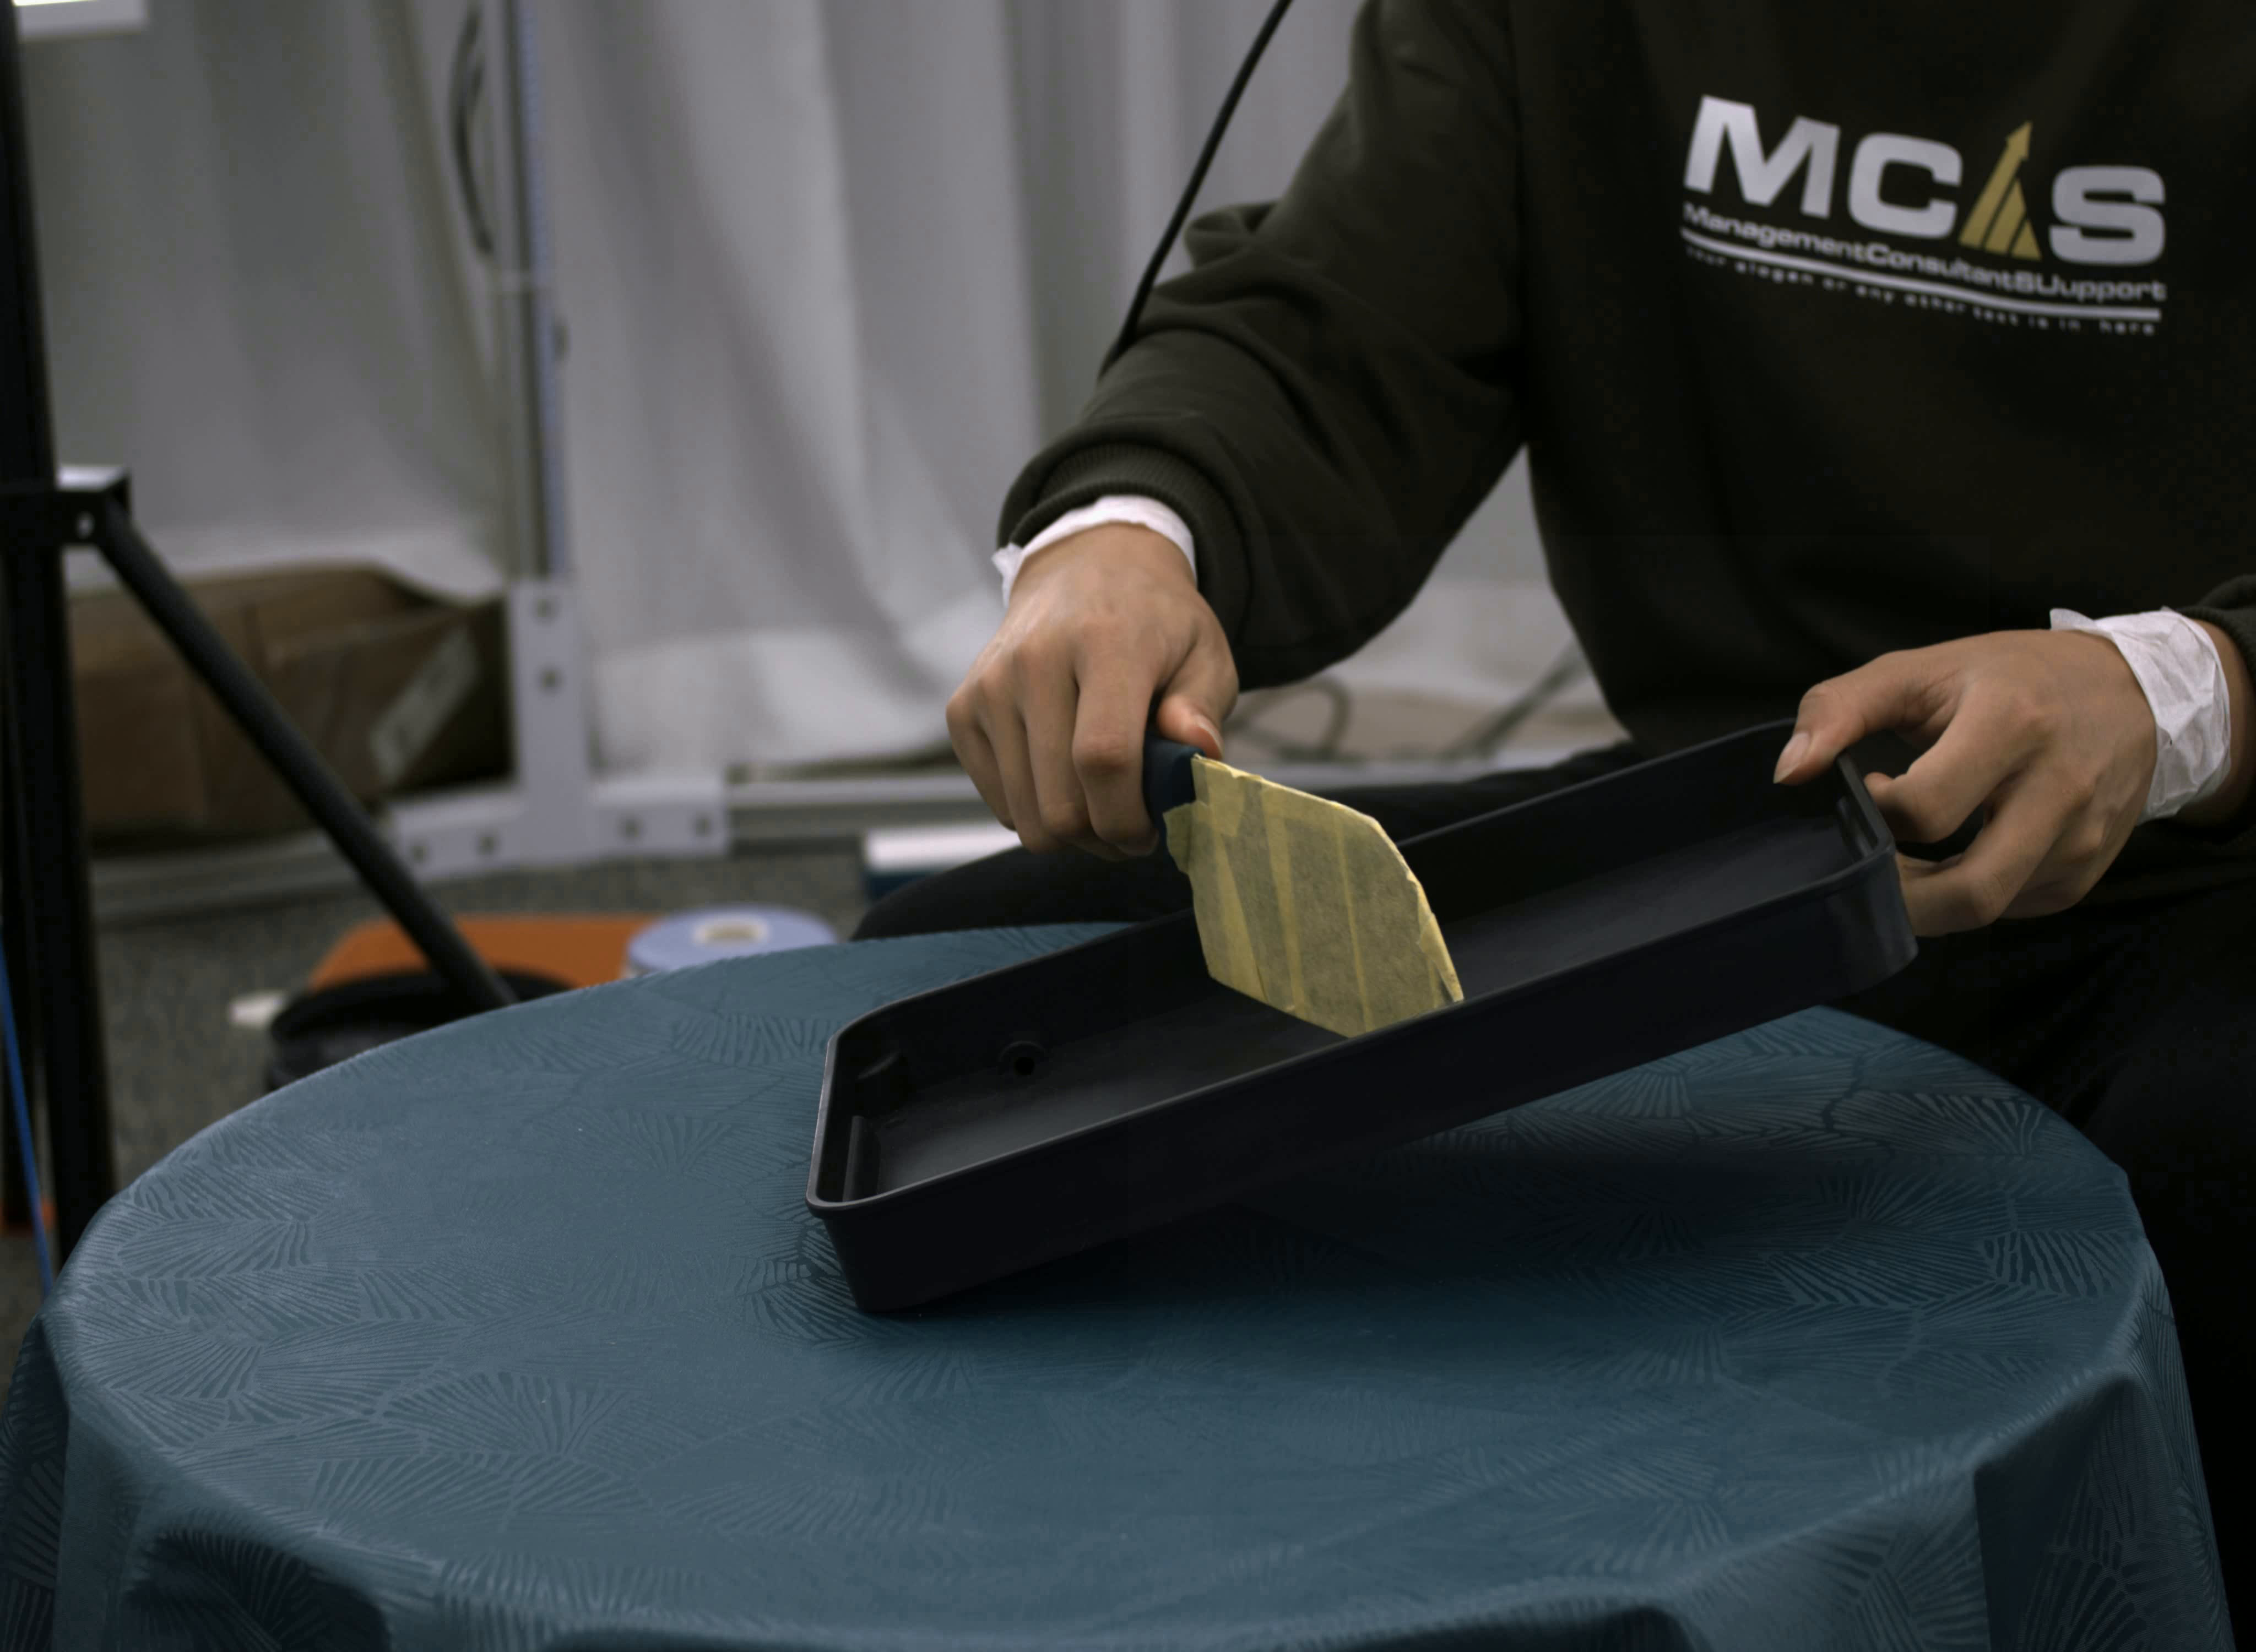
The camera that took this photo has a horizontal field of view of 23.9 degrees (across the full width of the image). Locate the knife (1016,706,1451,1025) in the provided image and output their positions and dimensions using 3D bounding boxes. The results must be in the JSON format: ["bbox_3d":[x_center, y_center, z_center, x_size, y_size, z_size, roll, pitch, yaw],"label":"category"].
[{"bbox_3d":[0.030,0.012,1.572,0.027,0.081,0.295,-11,16,-21],"label":"knife"}]

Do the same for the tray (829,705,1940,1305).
[{"bbox_3d":[0.070,0.049,1.530,0.318,0.037,0.185,-19,13,5],"label":"tray"}]
